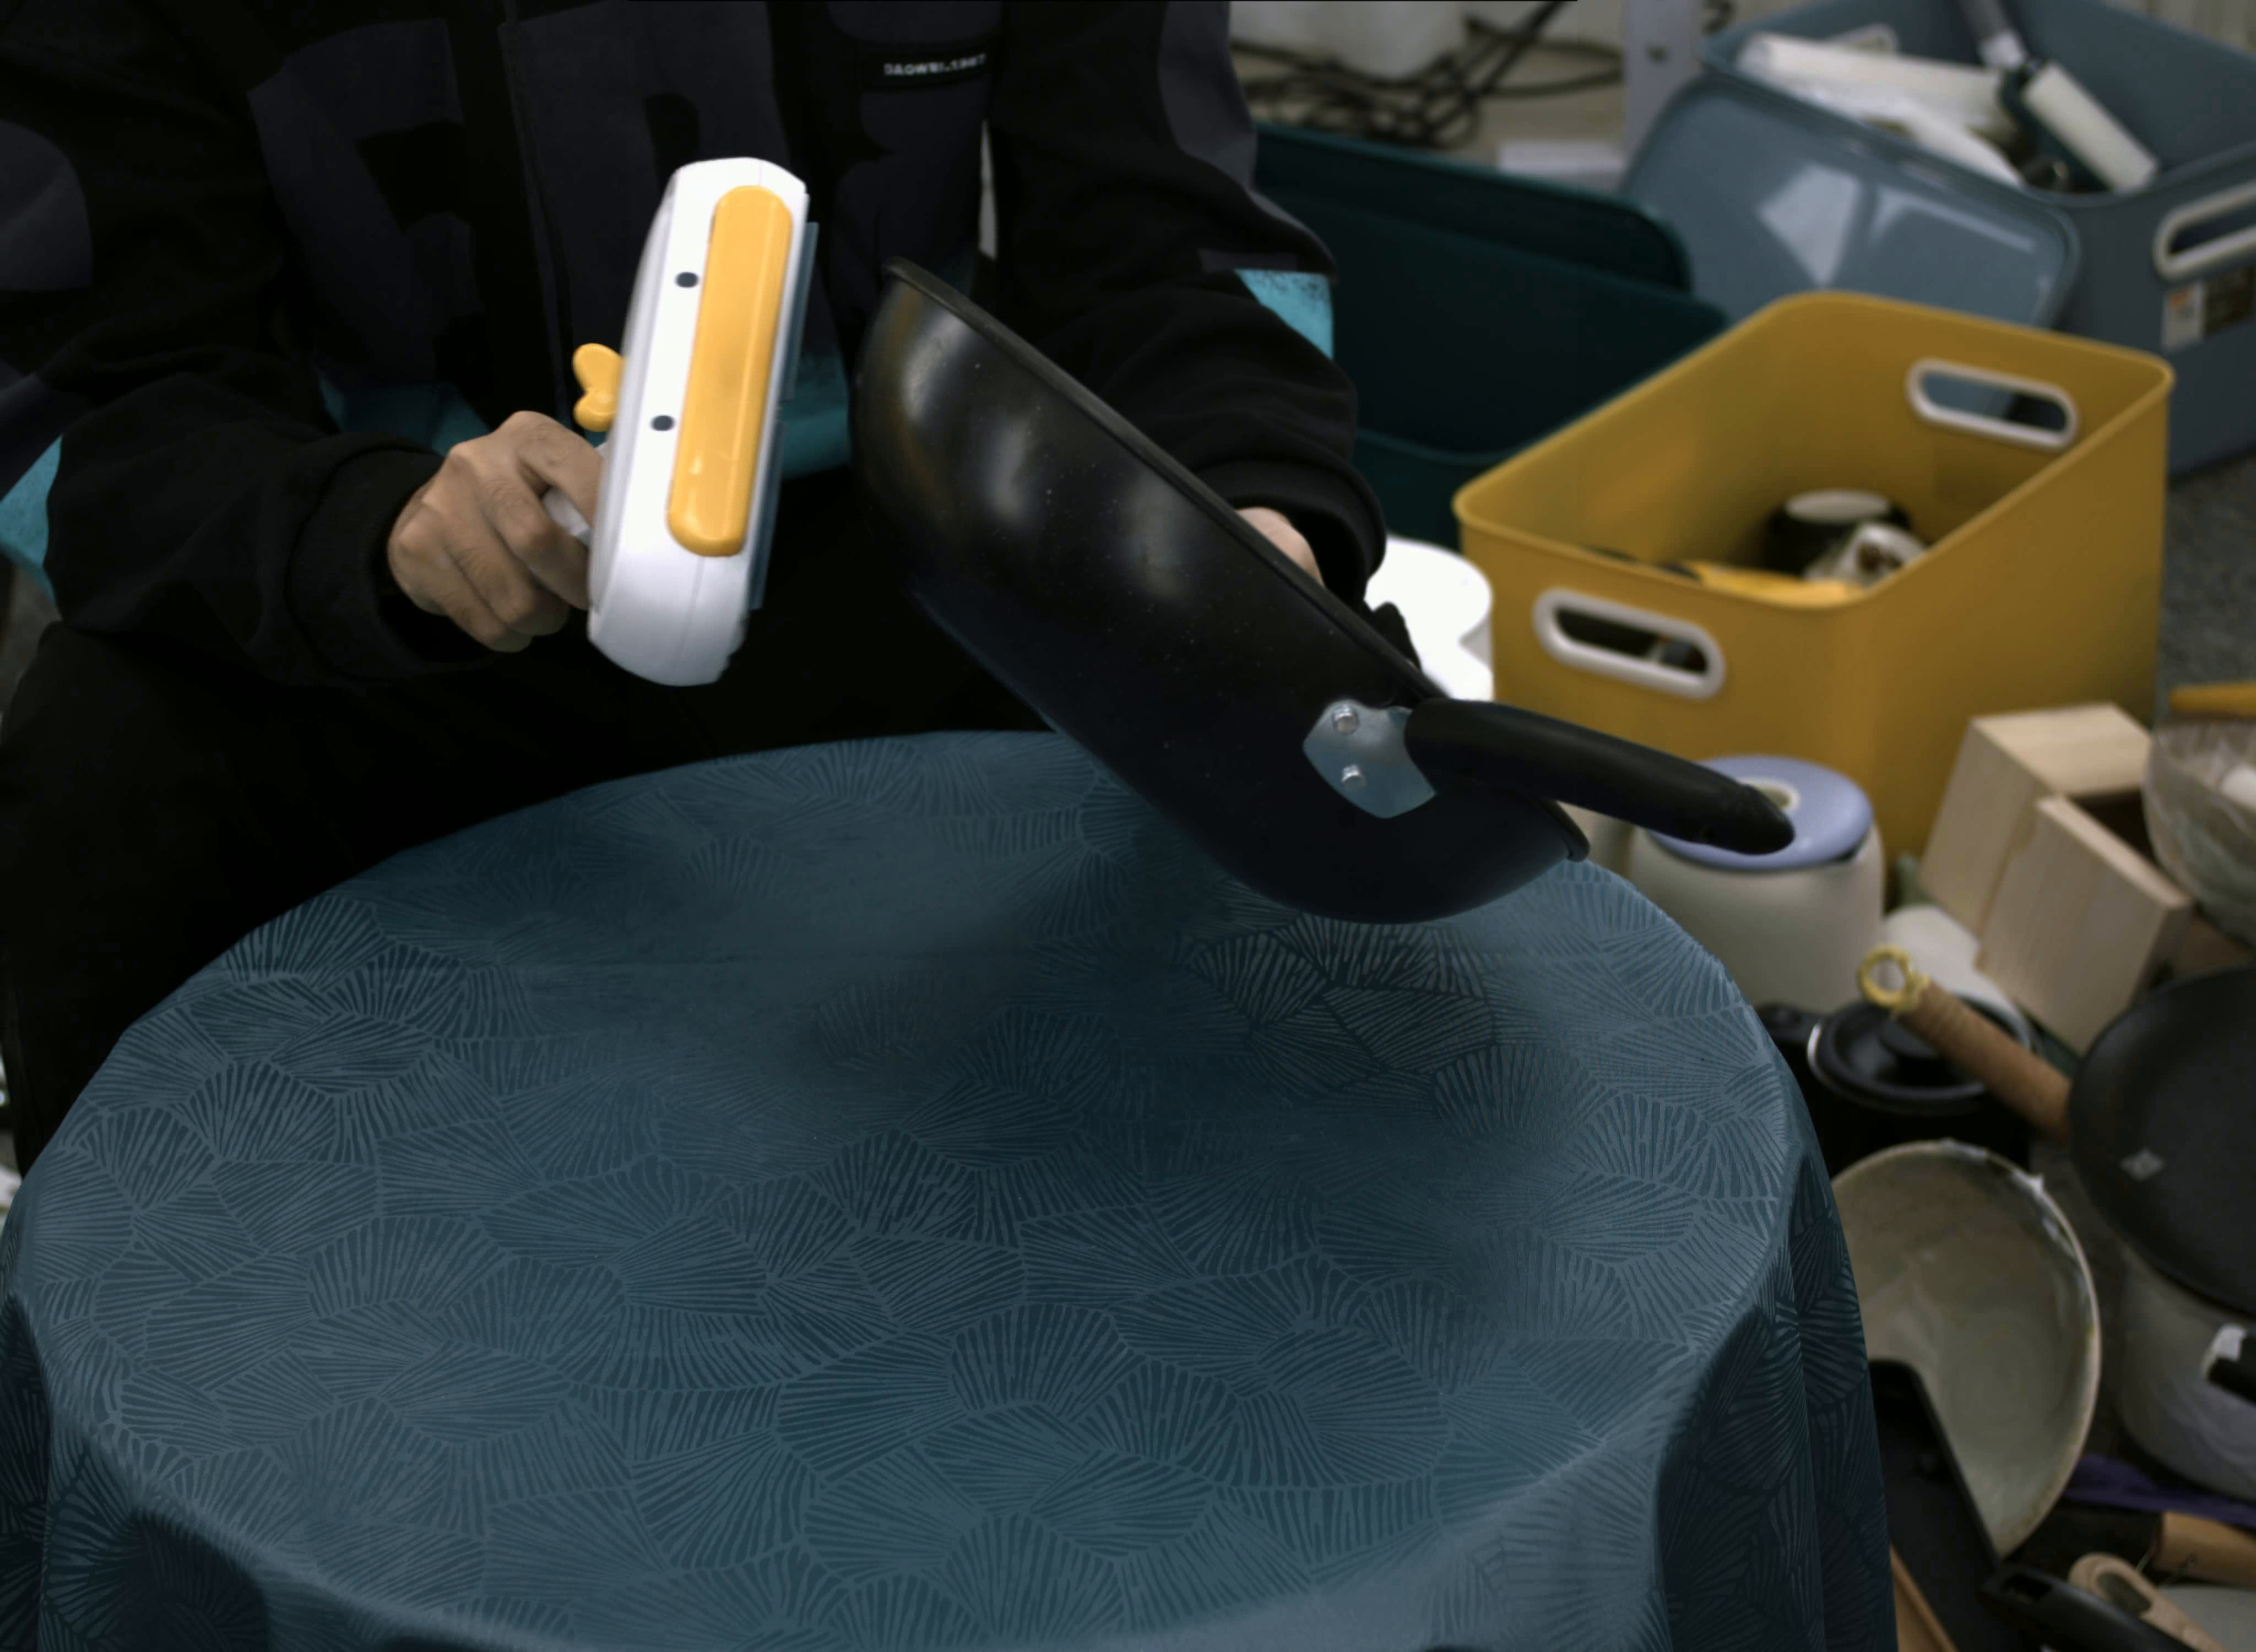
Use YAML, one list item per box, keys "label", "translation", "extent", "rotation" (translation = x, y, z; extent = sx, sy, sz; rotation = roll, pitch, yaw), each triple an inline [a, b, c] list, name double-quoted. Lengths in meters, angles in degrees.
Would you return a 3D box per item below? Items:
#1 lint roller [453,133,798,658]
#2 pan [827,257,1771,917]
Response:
- label: "lint roller"
  translation: [-0.174, -0.118, 1.925]
  extent: [0.074, 0.189, 0.196]
  rotation: [14, 55, -20]
- label: "pan"
  translation: [0.049, -0.043, 1.821]
  extent: [0.112, 0.308, 0.479]
  rotation: [-51, 32, 0]
